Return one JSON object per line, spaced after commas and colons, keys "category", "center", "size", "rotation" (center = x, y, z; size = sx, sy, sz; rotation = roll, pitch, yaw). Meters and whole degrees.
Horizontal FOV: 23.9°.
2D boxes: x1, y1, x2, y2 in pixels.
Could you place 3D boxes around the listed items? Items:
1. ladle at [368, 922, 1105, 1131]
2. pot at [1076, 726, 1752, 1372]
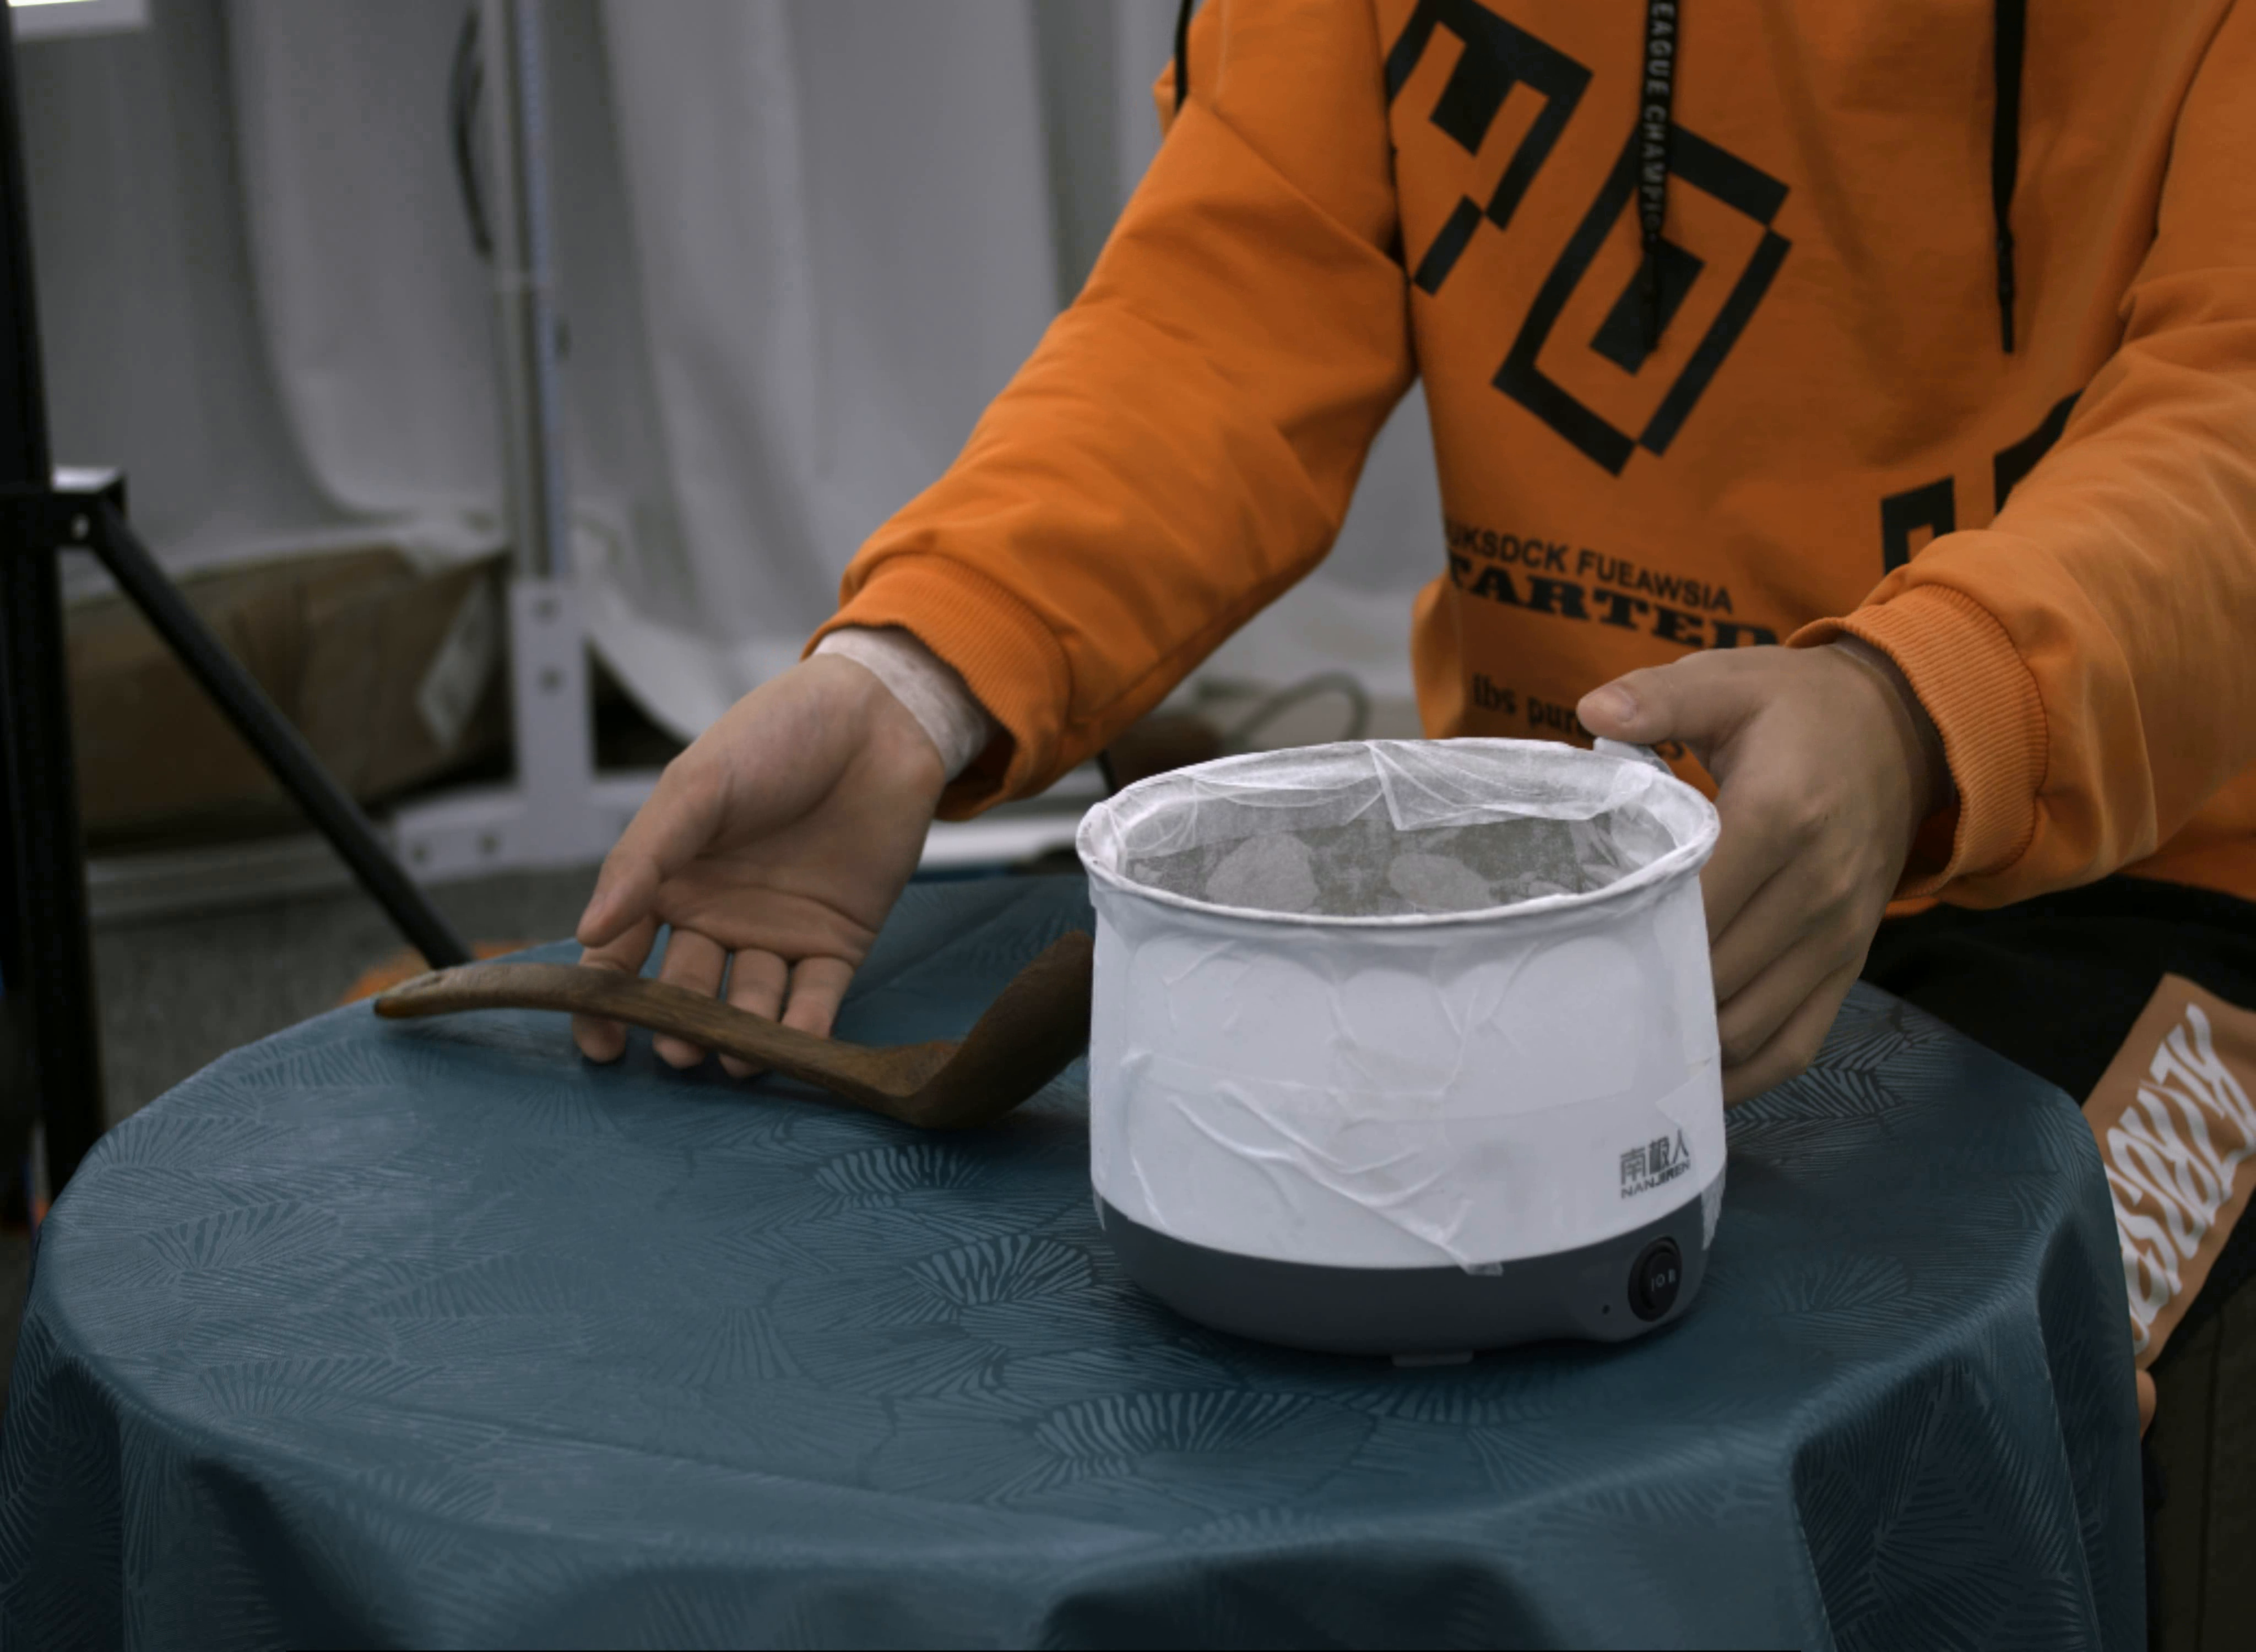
{"category": "ladle", "center": [-0.129, 0.047, 1.664], "size": [0.279, 0.071, 0.075], "rotation": [9, 24, 33]}
{"category": "pot", "center": [0.094, 0.054, 1.480], "size": [0.183, 0.136, 0.228], "rotation": [12, 22, 40]}
